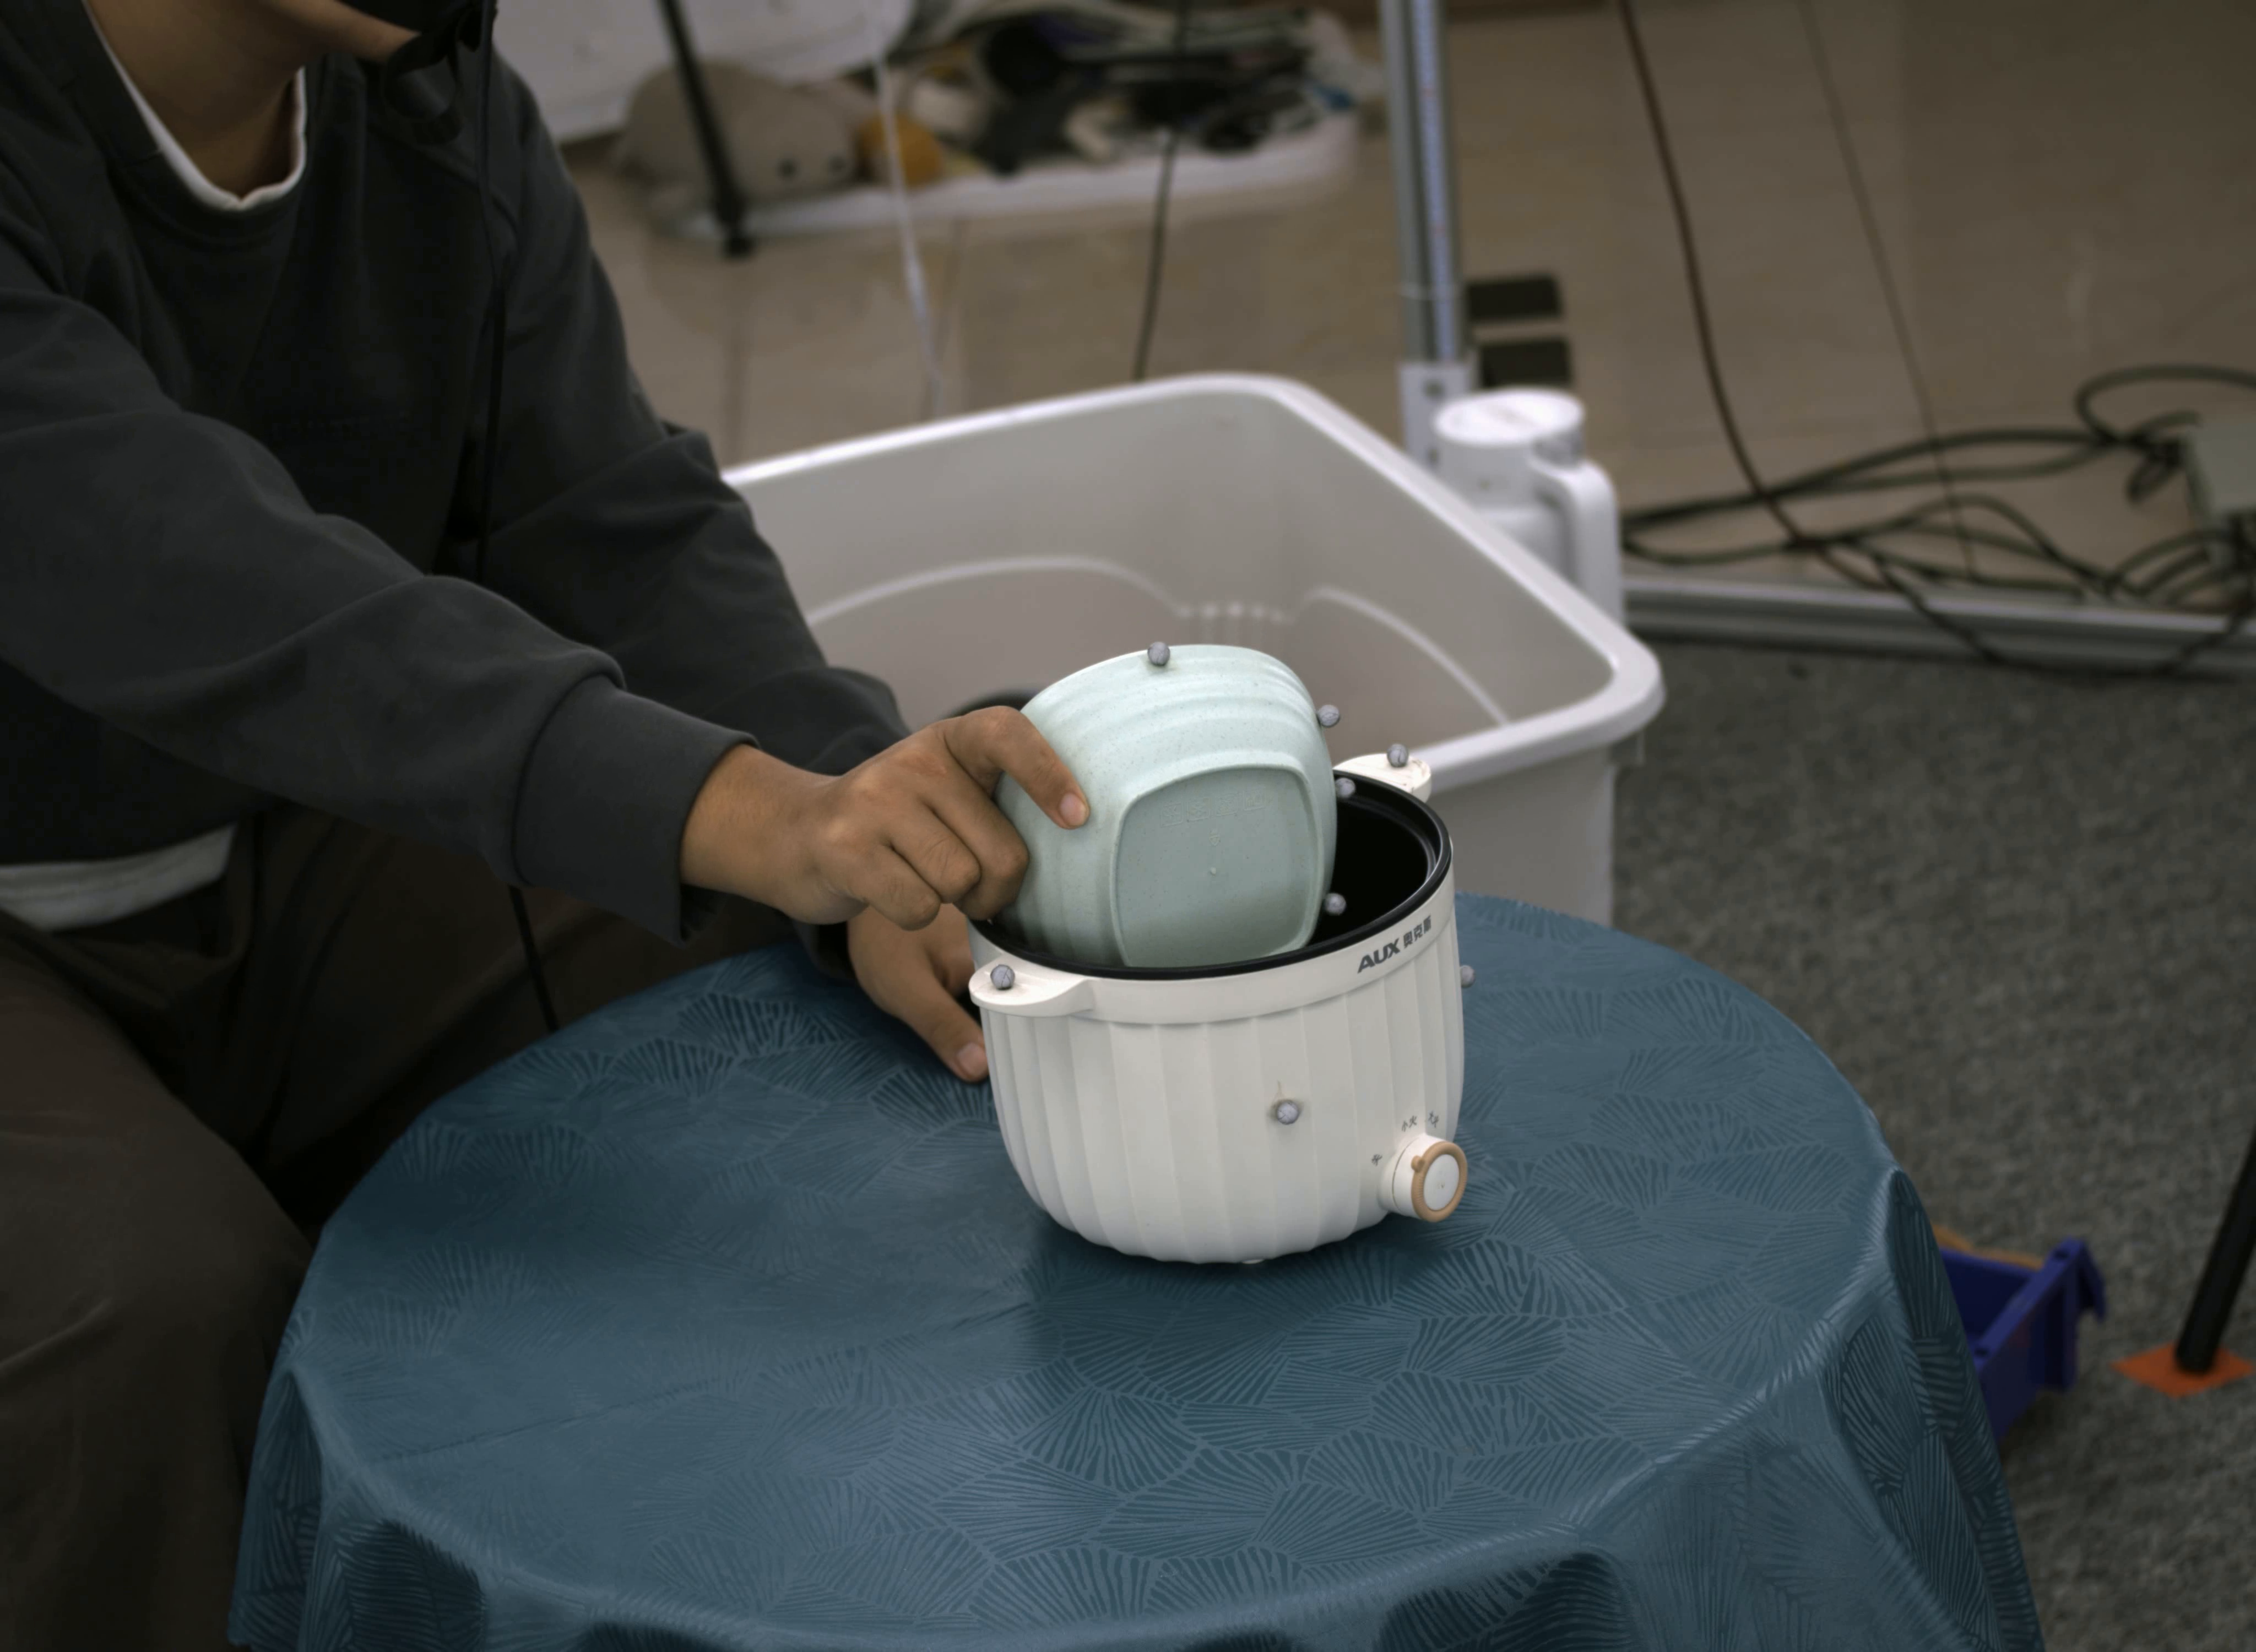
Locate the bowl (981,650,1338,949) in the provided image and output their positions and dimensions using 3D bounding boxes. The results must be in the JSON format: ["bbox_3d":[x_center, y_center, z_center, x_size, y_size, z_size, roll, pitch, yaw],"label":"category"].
[{"bbox_3d":[0.021,0.011,2.064,0.151,0.154,0.058,-14,26,-17],"label":"bowl"}]

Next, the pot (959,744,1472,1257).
[{"bbox_3d":[0.040,0.072,2.112,0.189,0.145,0.238,11,32,40],"label":"pot"}]
